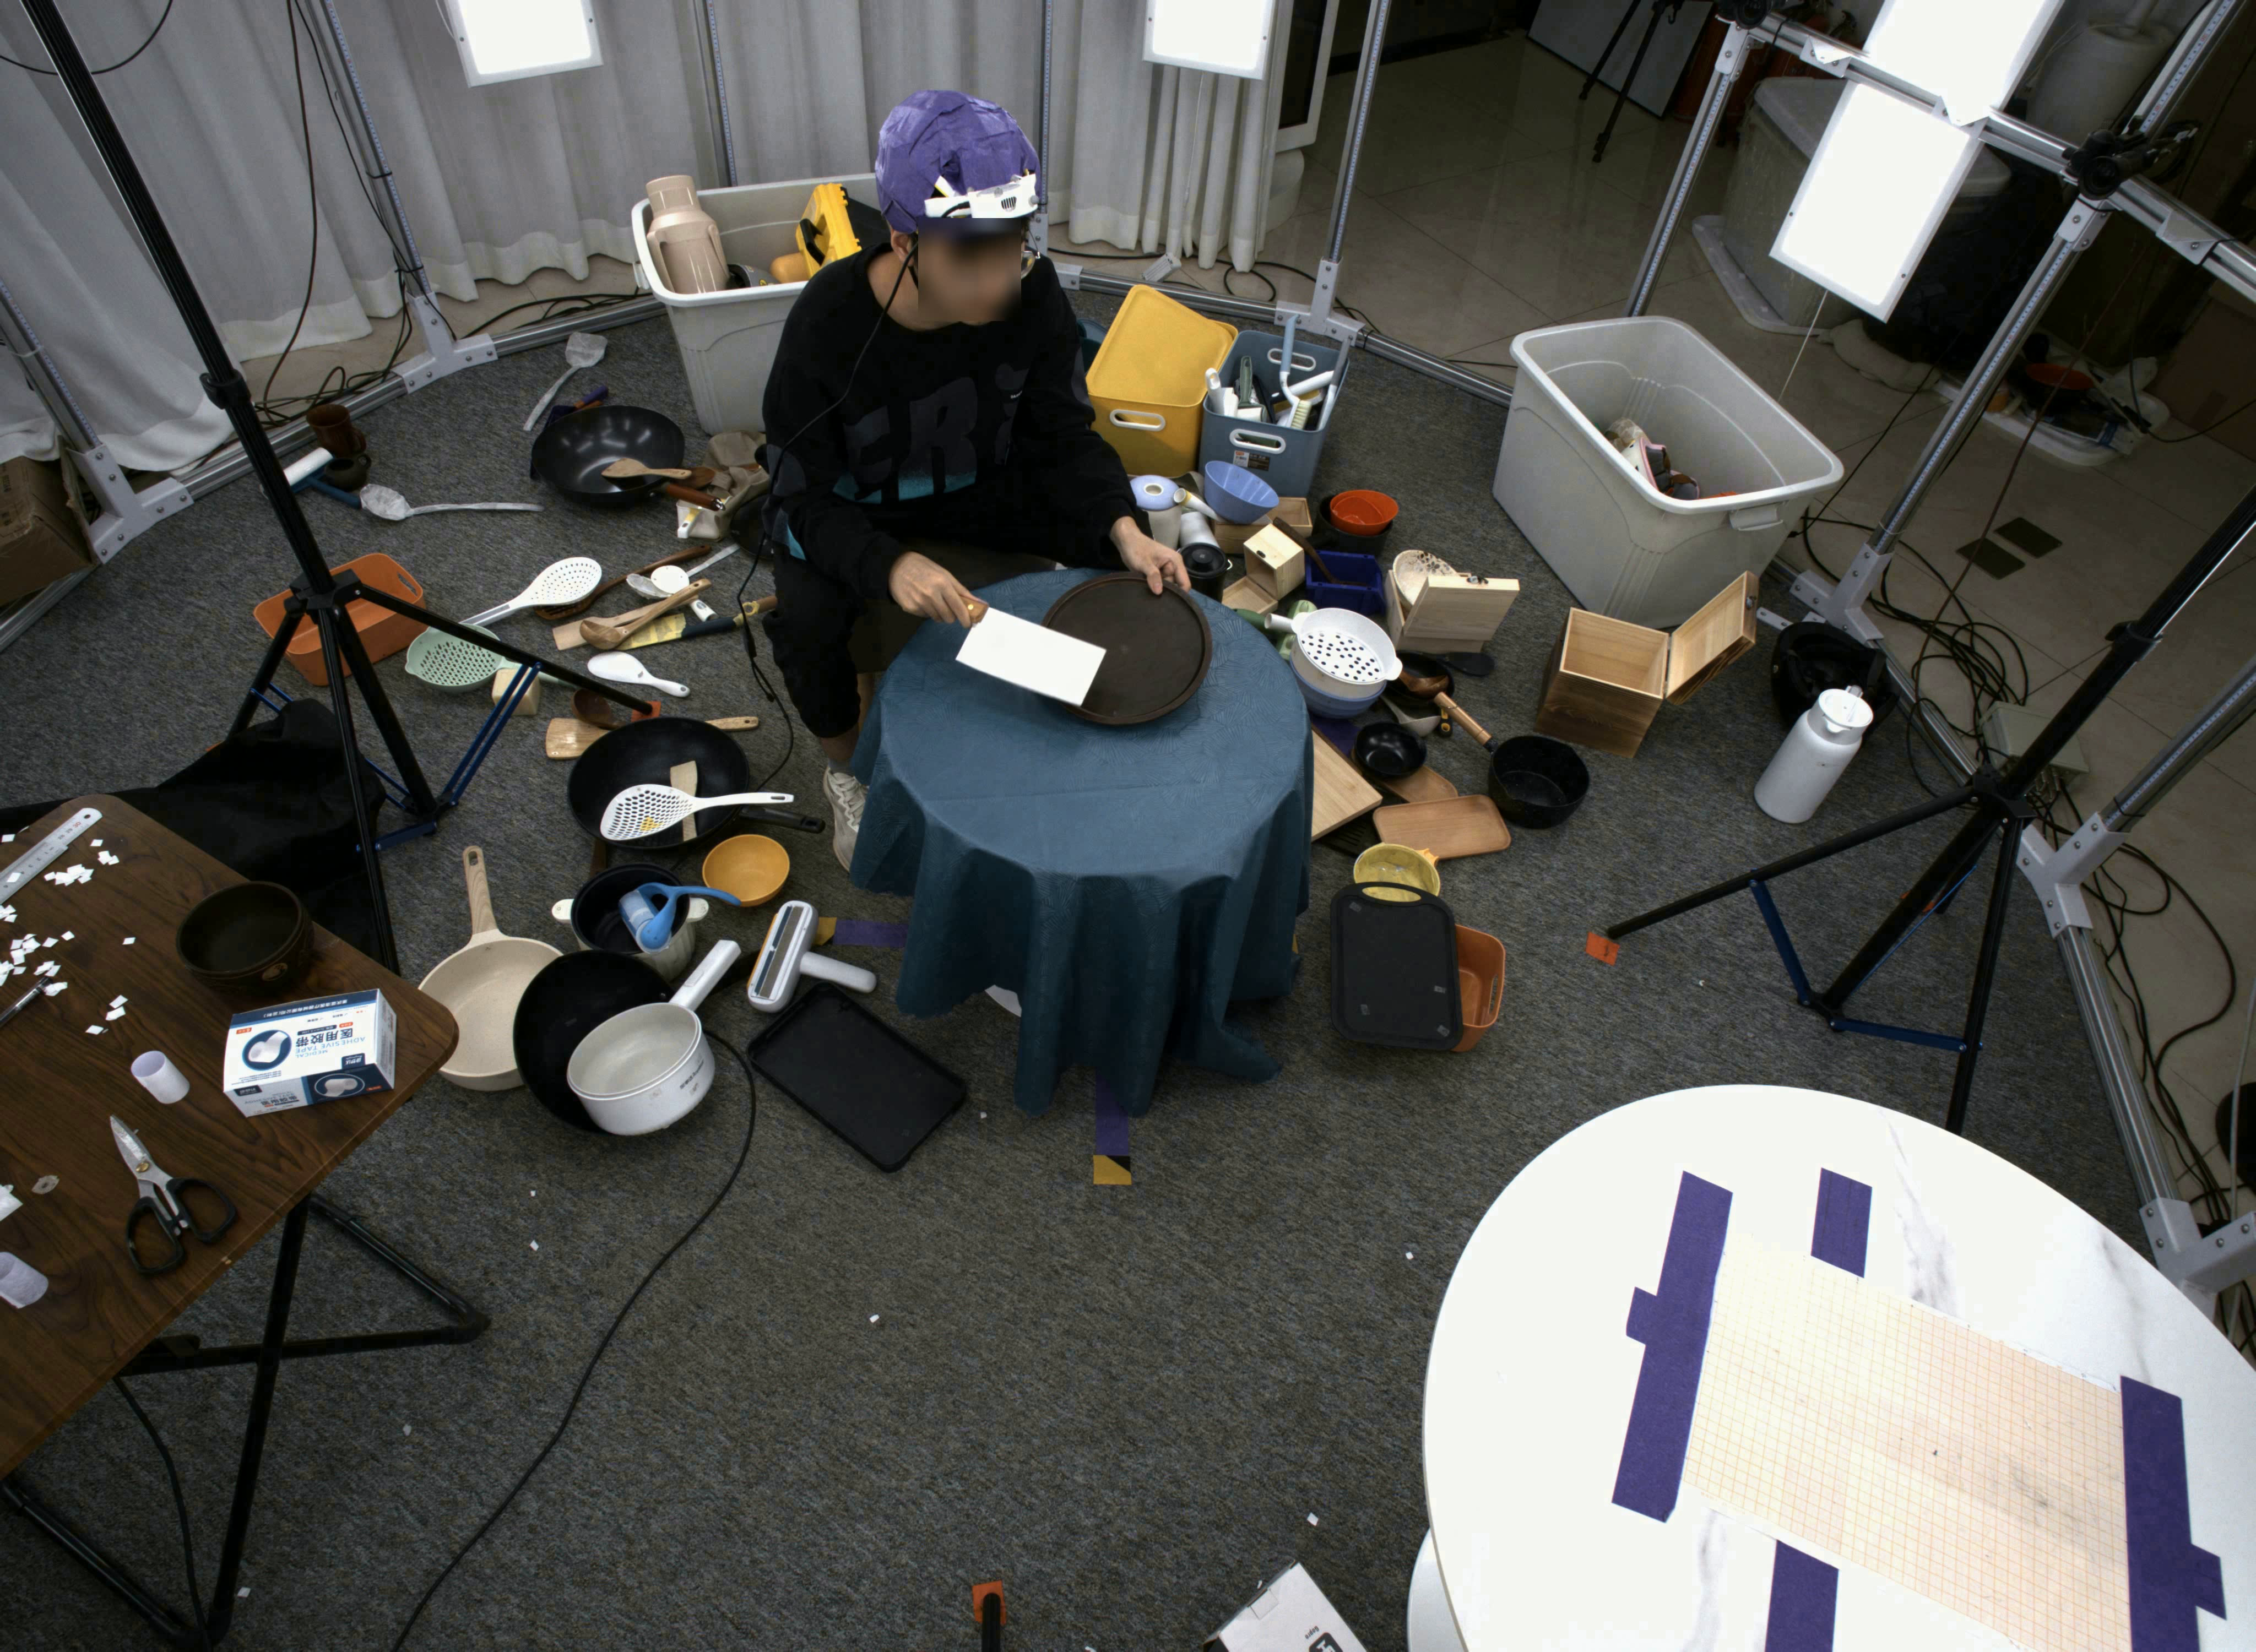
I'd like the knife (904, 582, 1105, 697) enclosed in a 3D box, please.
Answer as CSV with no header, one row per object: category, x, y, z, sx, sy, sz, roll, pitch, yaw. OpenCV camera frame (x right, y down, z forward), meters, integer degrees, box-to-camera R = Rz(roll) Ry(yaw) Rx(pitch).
knife,-0.182,-0.254,1.775,0.307,0.020,0.094,22,76,13

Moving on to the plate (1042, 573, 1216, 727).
plate,-0.001,-0.252,1.831,0.255,0.028,0.260,-1,63,2
